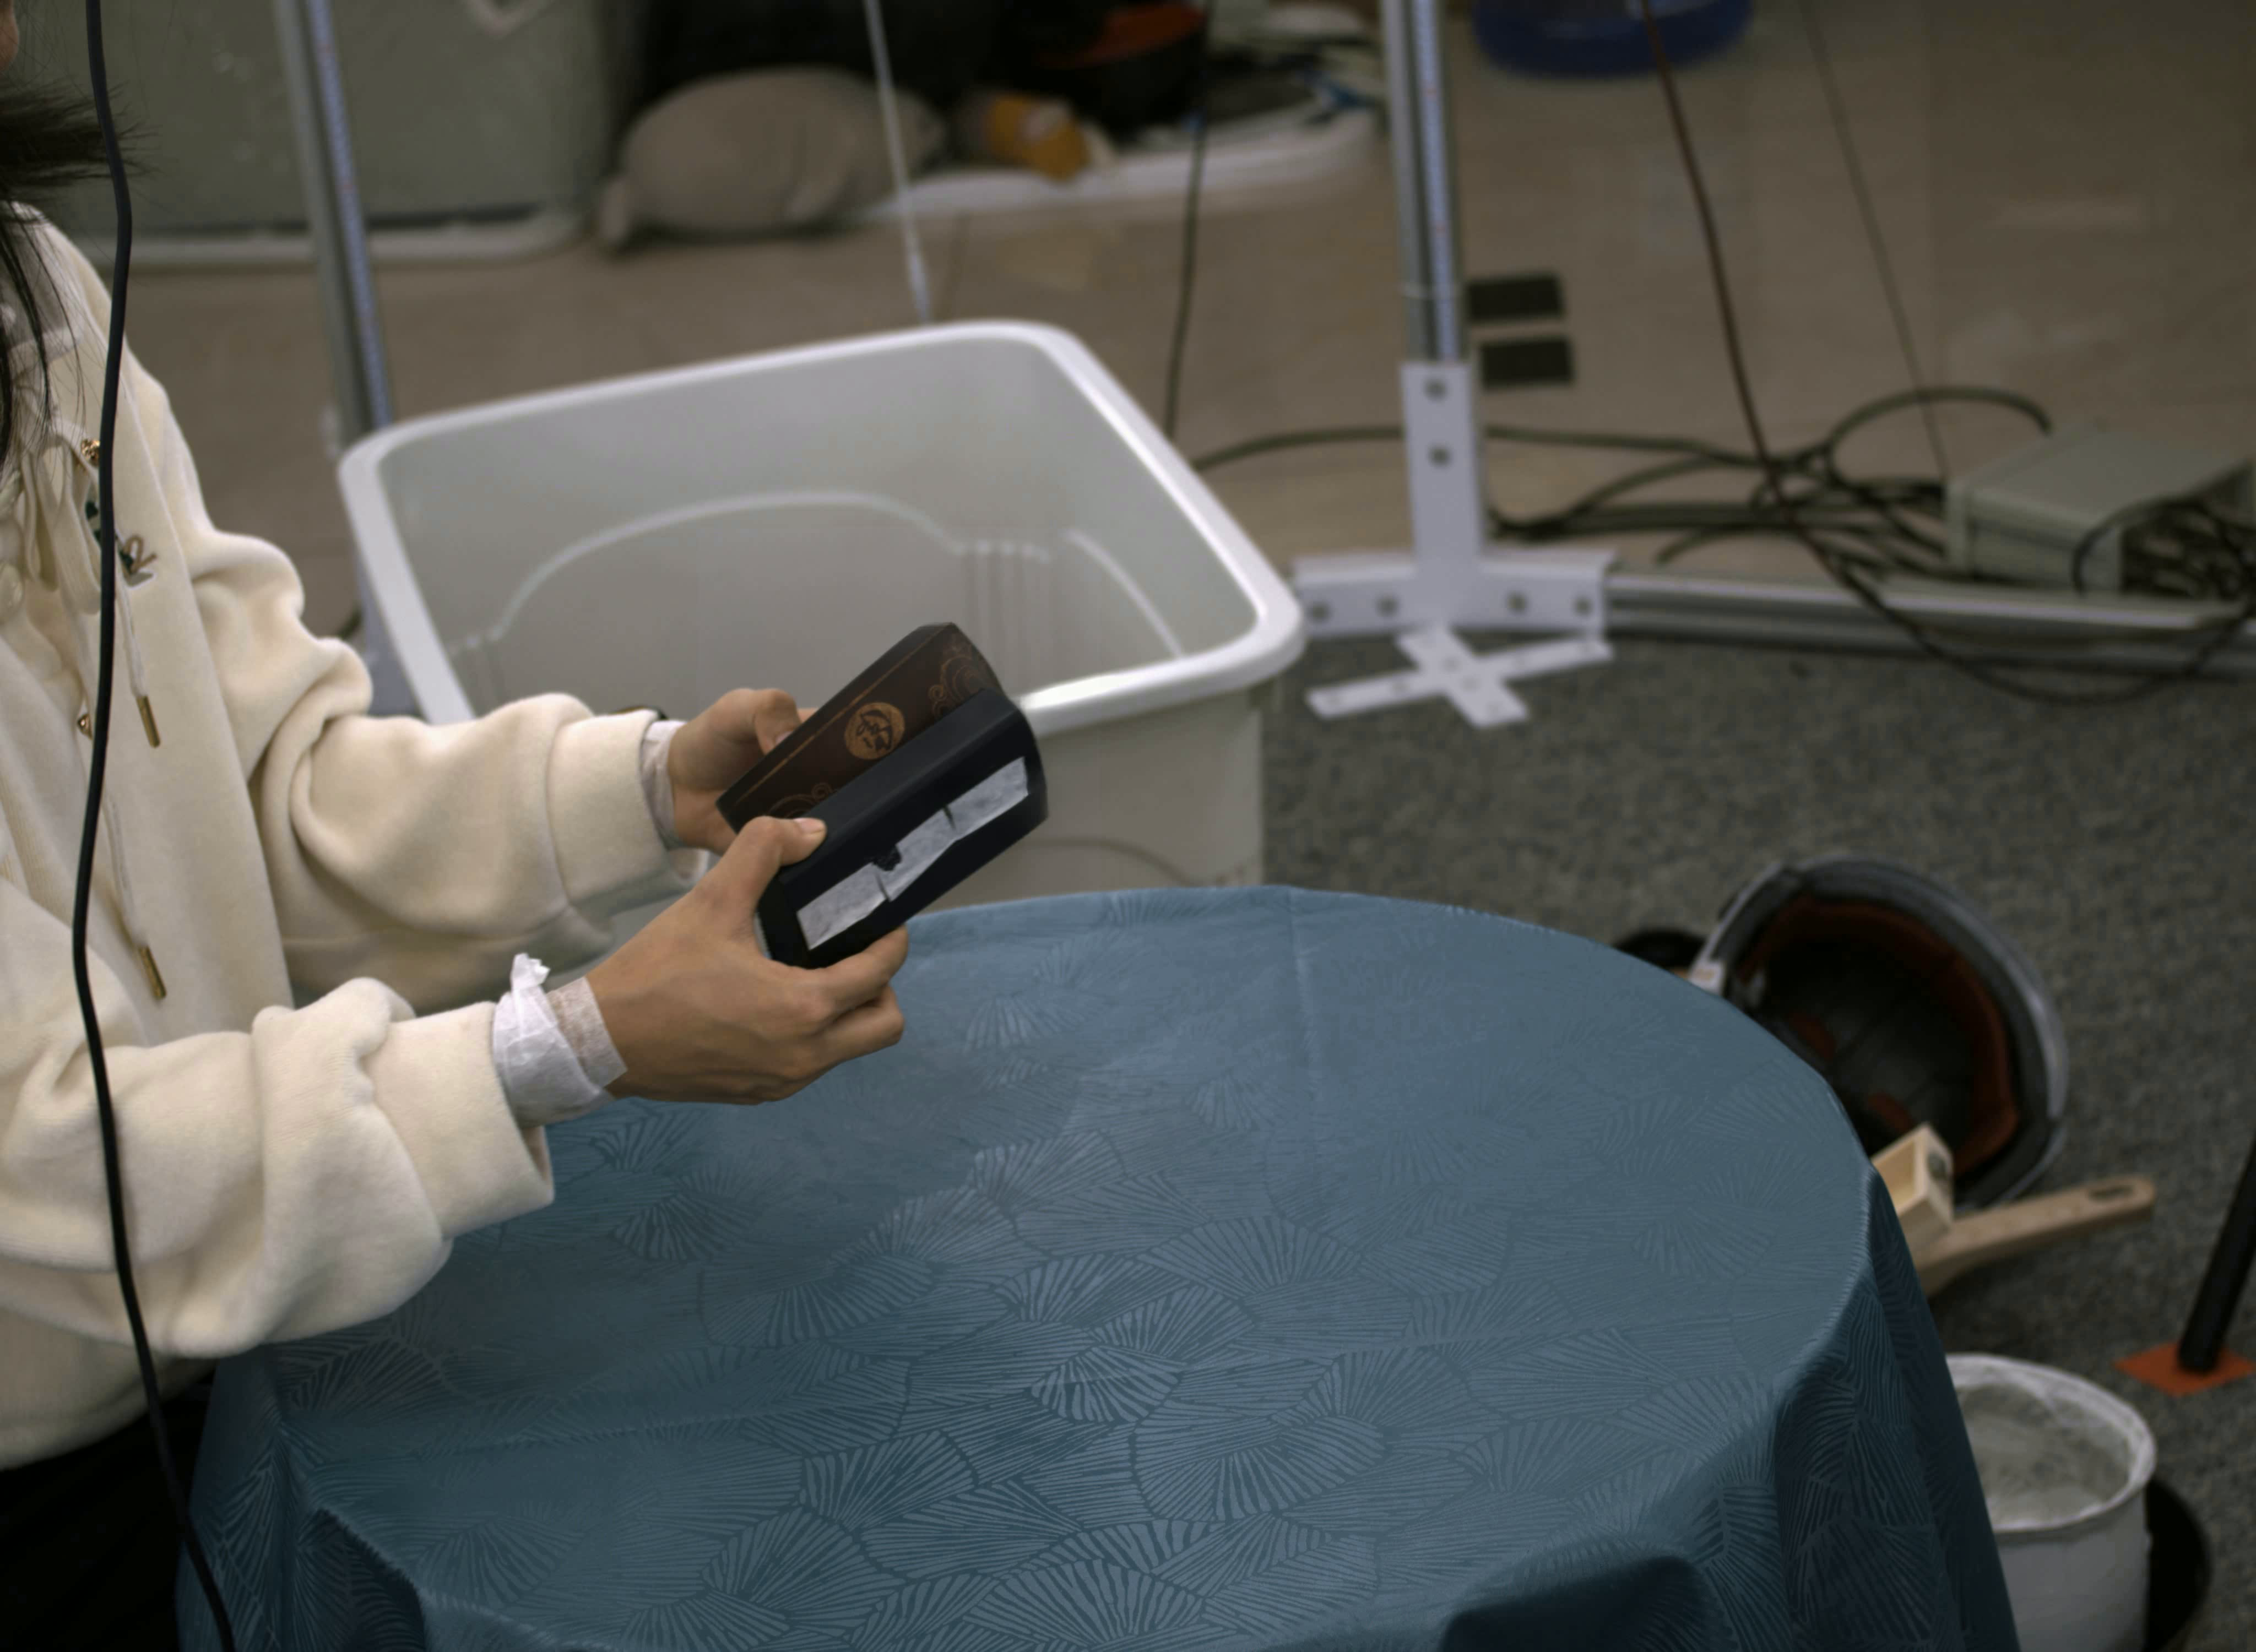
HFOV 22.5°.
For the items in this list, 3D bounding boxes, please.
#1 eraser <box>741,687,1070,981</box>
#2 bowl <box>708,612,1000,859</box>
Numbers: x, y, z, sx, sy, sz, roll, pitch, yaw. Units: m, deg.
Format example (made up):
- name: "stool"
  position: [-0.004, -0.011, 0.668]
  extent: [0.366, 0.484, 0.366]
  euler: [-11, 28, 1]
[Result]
- name: "eraser"
  position: [-0.082, 0.001, 2.093]
  extent: [0.124, 0.054, 0.030]
  euler: [-35, 35, -23]
- name: "bowl"
  position: [-0.095, -0.020, 2.159]
  extent: [0.118, 0.070, 0.118]
  euler: [-41, 1, 1]
